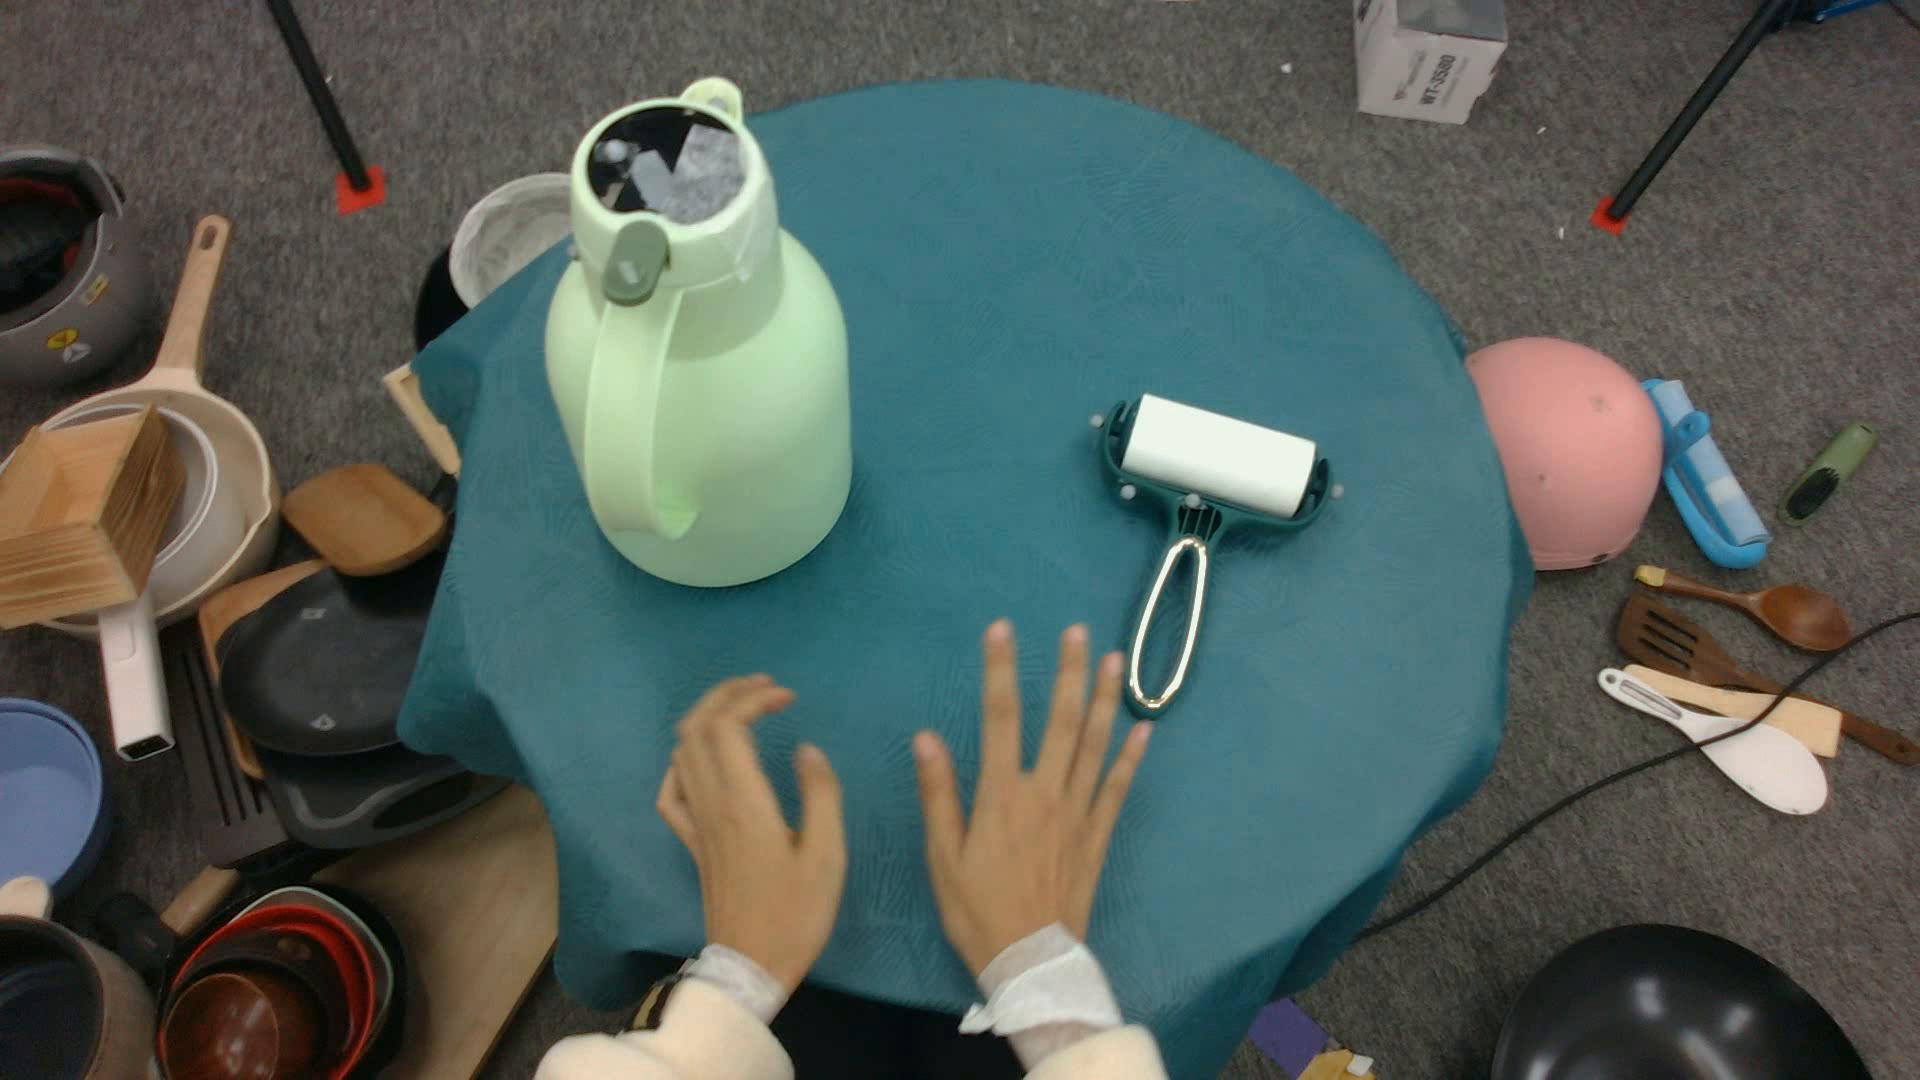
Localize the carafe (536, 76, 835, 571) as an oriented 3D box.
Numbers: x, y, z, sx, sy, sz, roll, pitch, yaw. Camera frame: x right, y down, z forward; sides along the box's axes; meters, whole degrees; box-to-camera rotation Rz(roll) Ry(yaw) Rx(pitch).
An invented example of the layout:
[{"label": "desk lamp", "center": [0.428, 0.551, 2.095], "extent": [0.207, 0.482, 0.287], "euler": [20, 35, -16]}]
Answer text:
[{"label": "carafe", "center": [-0.133, -0.083, 0.657], "extent": [0.144, 0.255, 0.187], "euler": [11, 66, -1]}]

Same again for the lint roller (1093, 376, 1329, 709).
[{"label": "lint roller", "center": [0.121, 0.003, 0.746], "extent": [0.134, 0.048, 0.181], "euler": [17, 62, 5]}]
